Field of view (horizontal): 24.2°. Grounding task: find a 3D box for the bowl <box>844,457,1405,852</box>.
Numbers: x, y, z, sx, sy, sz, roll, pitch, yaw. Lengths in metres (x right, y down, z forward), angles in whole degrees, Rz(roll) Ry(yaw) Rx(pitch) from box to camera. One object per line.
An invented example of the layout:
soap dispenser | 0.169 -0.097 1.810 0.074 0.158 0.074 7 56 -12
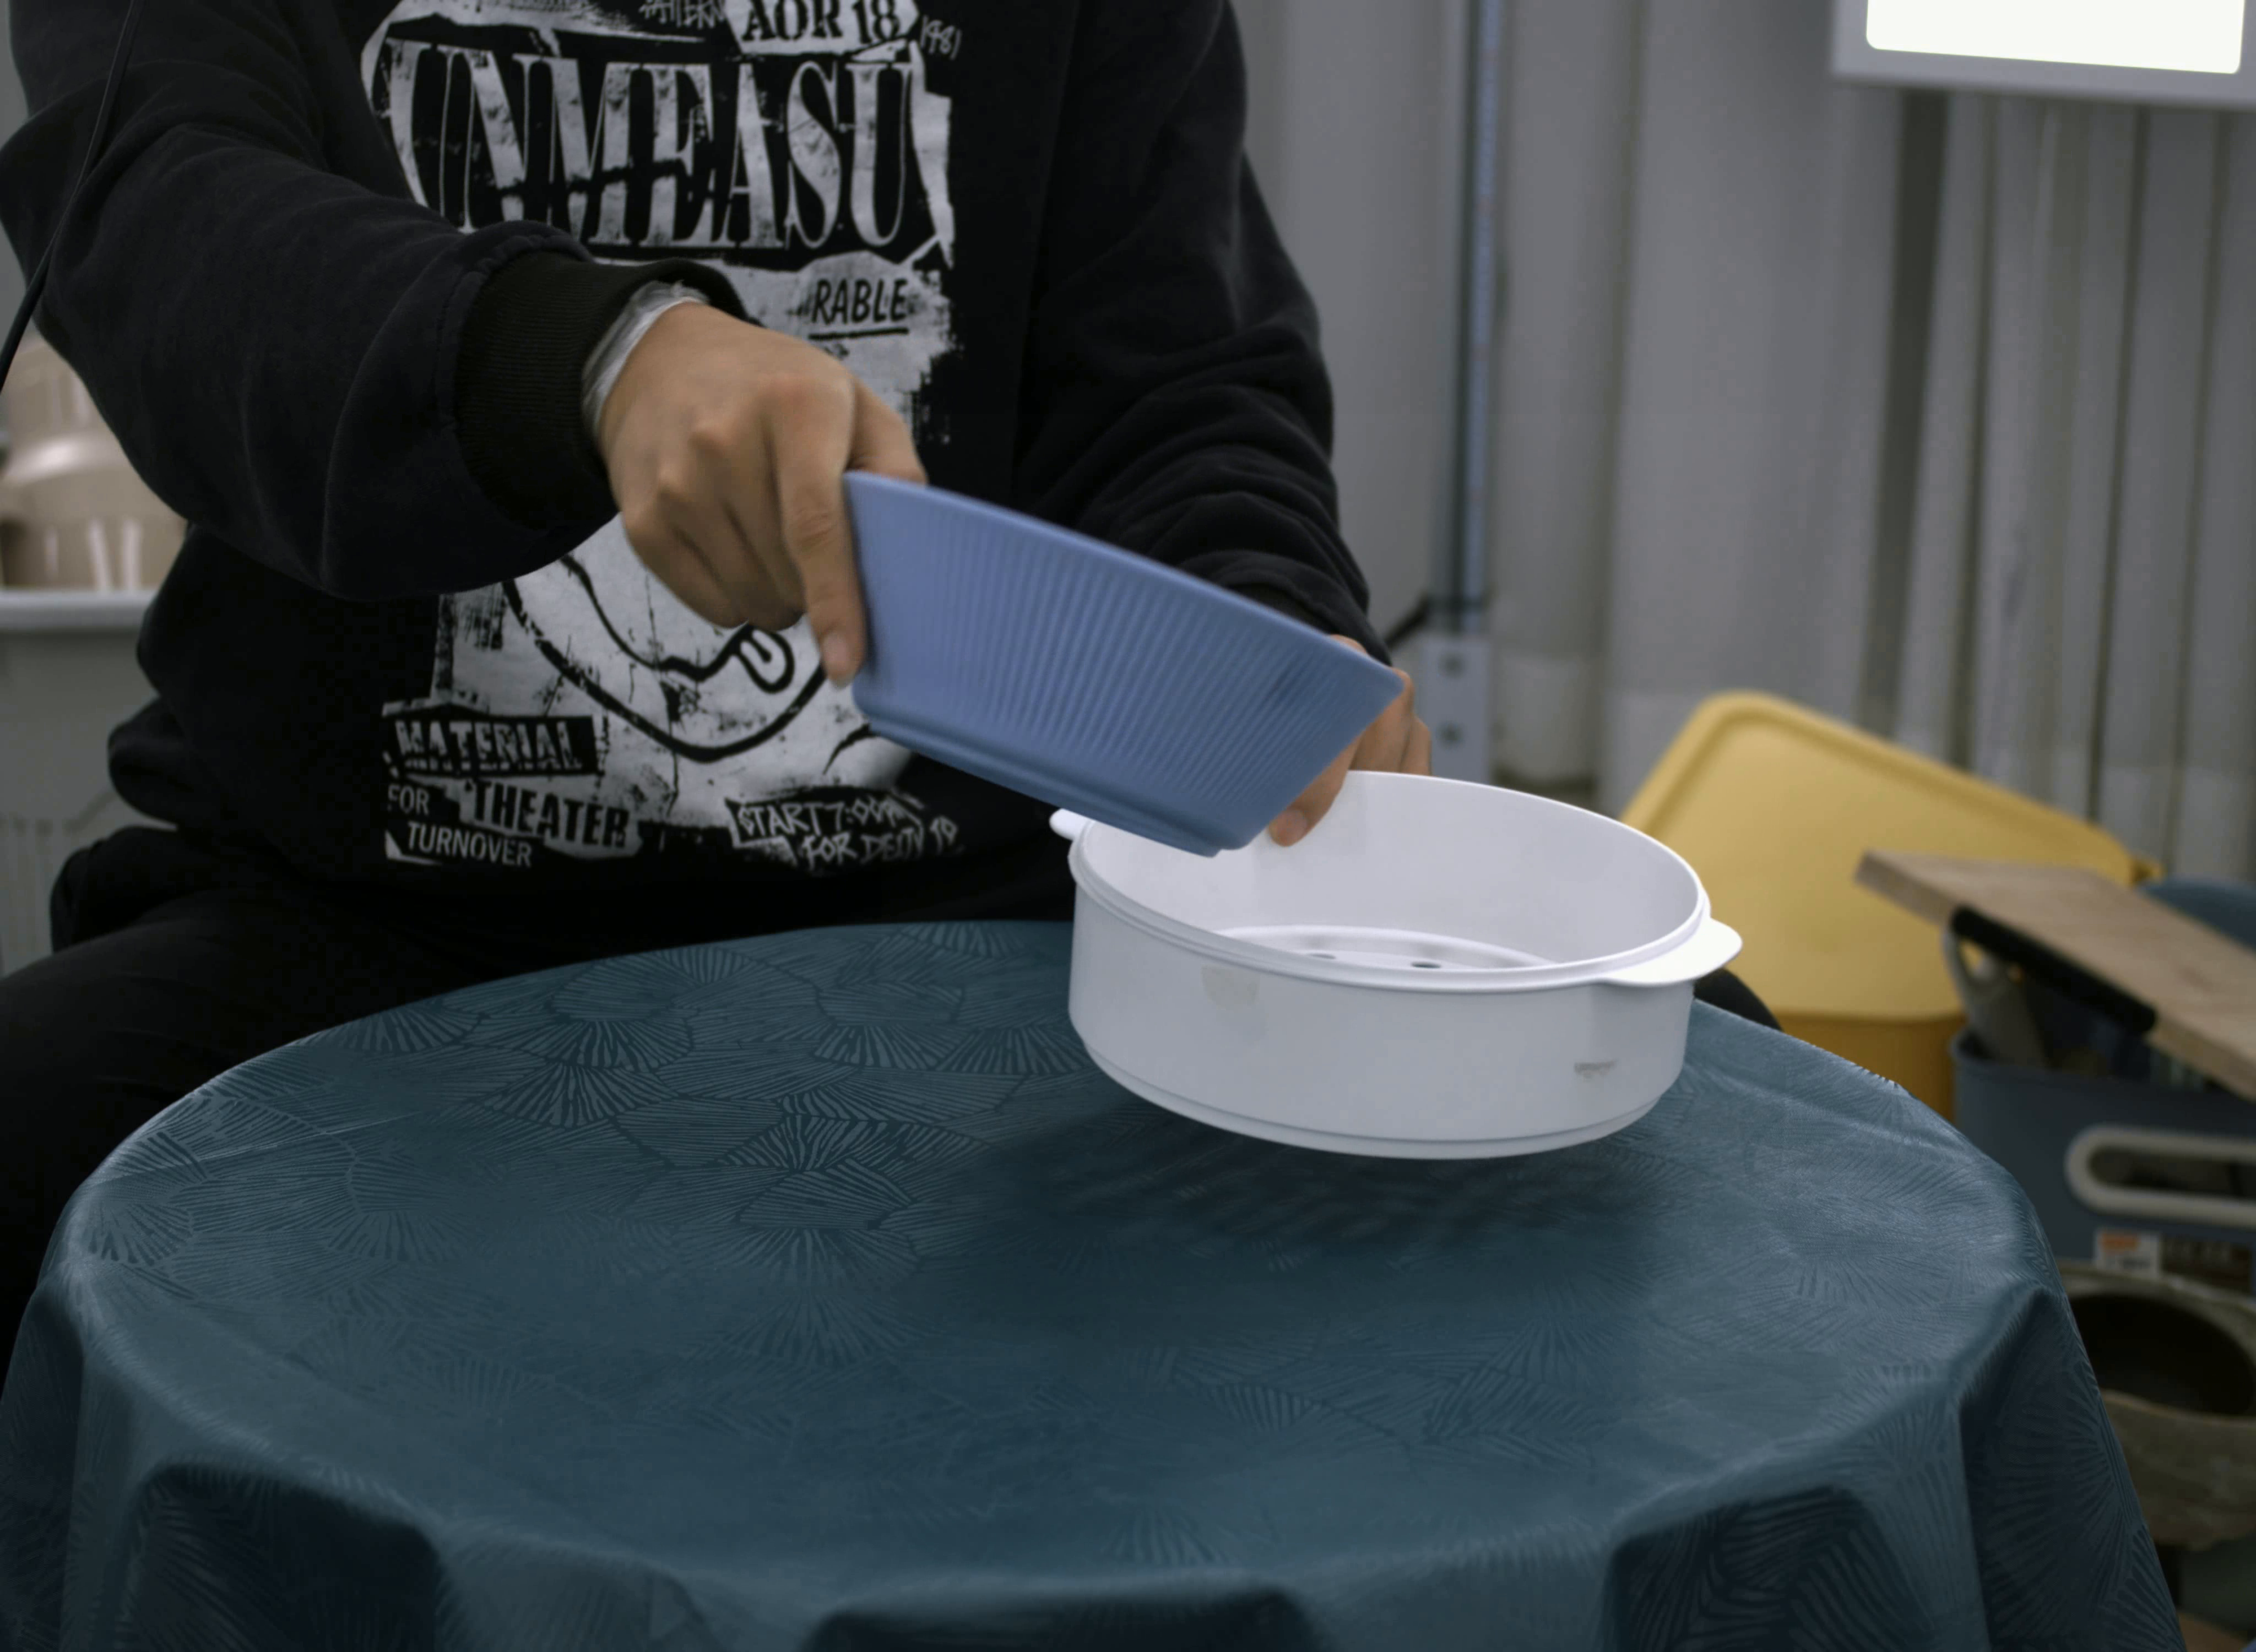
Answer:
bowl | -0.012 -0.044 1.527 0.175 0.070 0.176 22 -4 2

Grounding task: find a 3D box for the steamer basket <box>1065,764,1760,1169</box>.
steamer basket | 0.084 0.044 1.648 0.228 0.070 0.202 18 22 27
